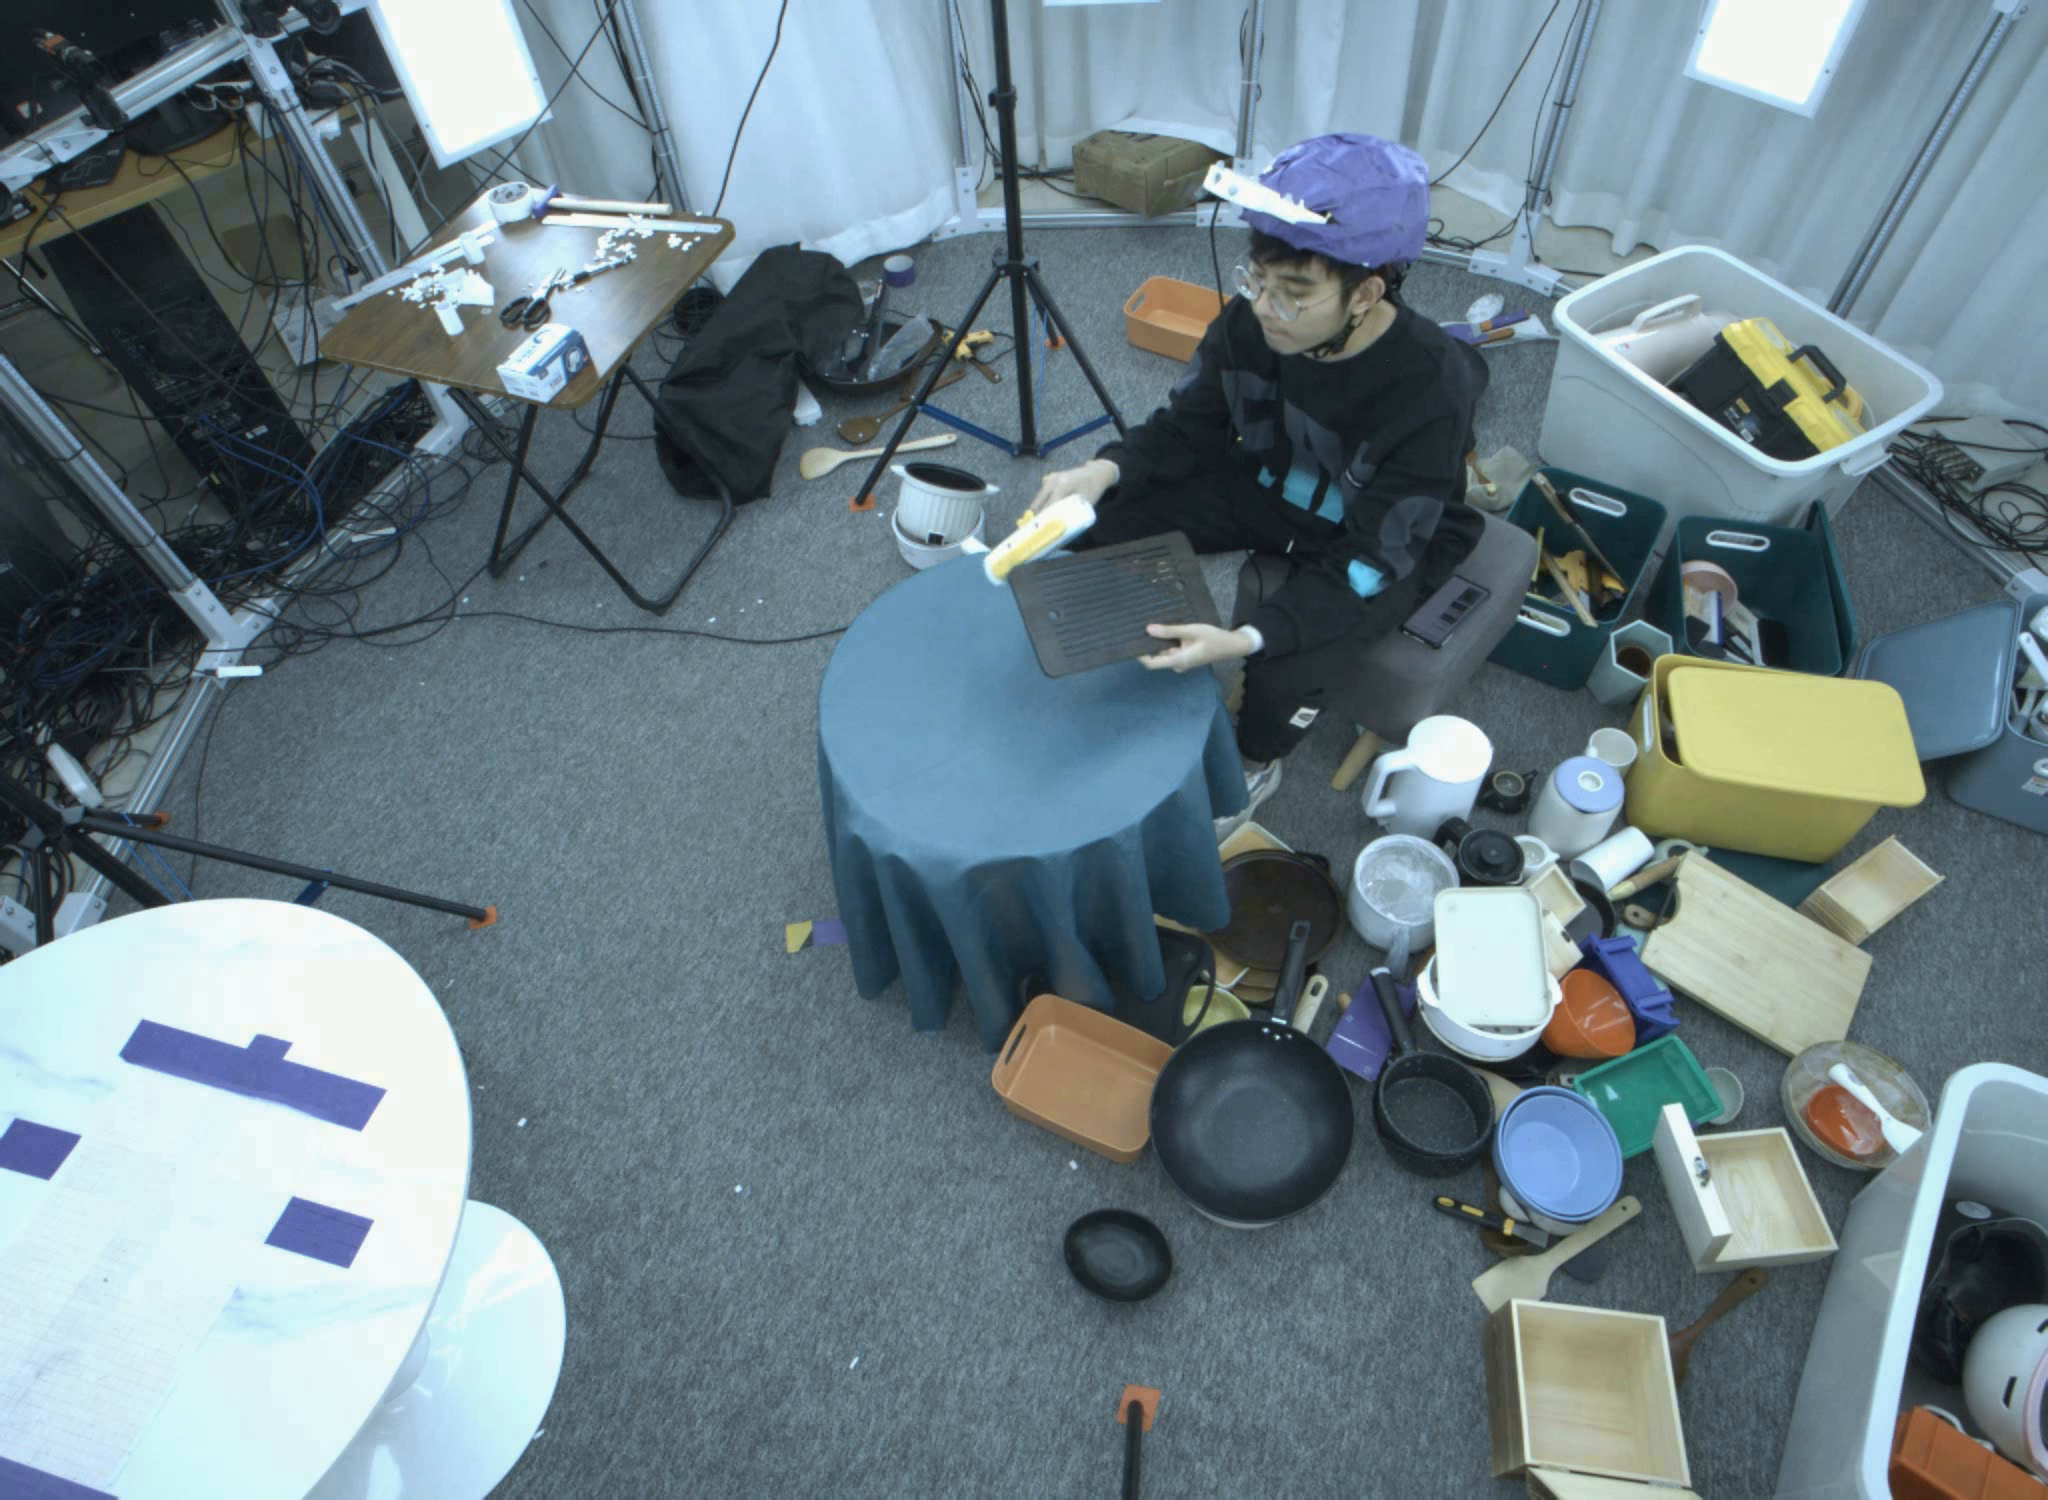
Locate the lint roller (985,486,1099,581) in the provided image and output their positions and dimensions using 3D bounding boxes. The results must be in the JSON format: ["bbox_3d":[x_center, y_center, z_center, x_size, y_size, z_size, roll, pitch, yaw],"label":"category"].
[{"bbox_3d":[0.039,-0.335,1.786,0.074,0.191,0.193,49,34,-5],"label":"lint roller"}]

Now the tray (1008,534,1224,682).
[{"bbox_3d":[0.135,-0.208,1.765,0.310,0.018,0.169,-16,82,-26],"label":"tray"}]
